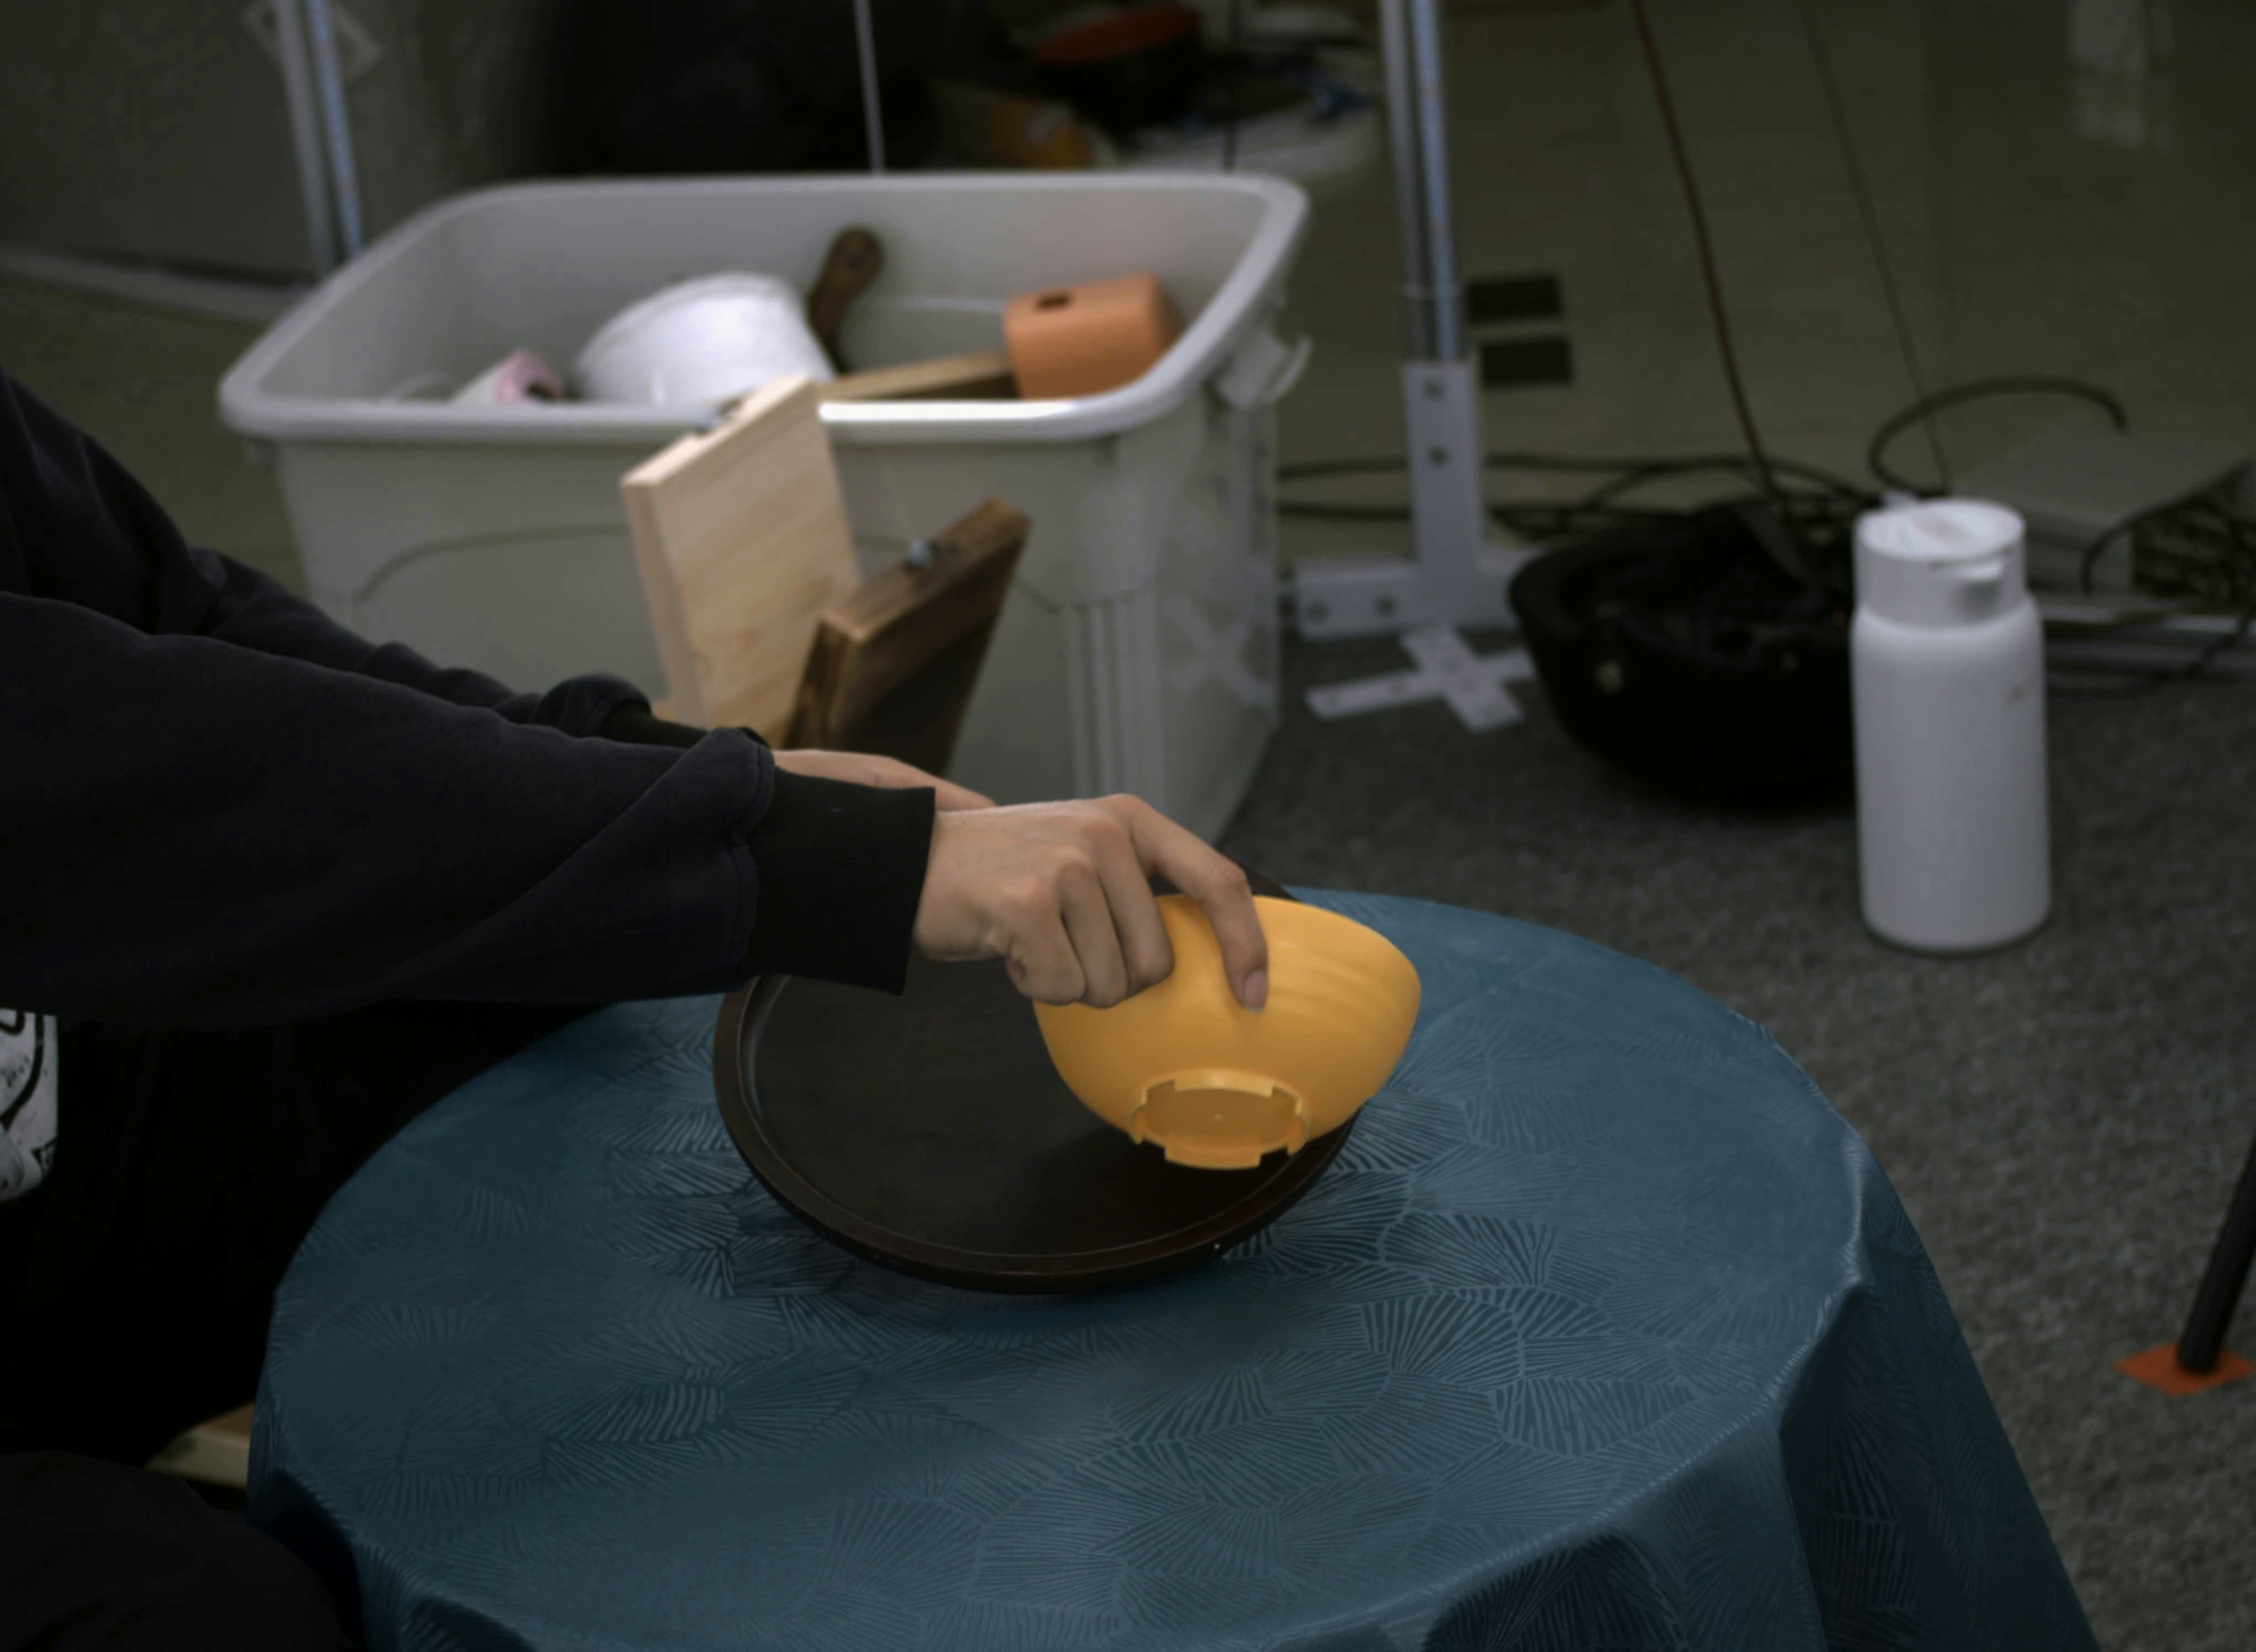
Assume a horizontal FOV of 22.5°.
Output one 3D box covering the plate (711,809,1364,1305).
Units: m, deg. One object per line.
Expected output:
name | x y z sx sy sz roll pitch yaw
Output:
plate | -0.033 0.089 2.164 0.254 0.029 0.250 -1 44 1

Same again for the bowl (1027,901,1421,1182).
bowl | 0.035 0.088 2.057 0.145 0.148 0.059 -3 60 7
